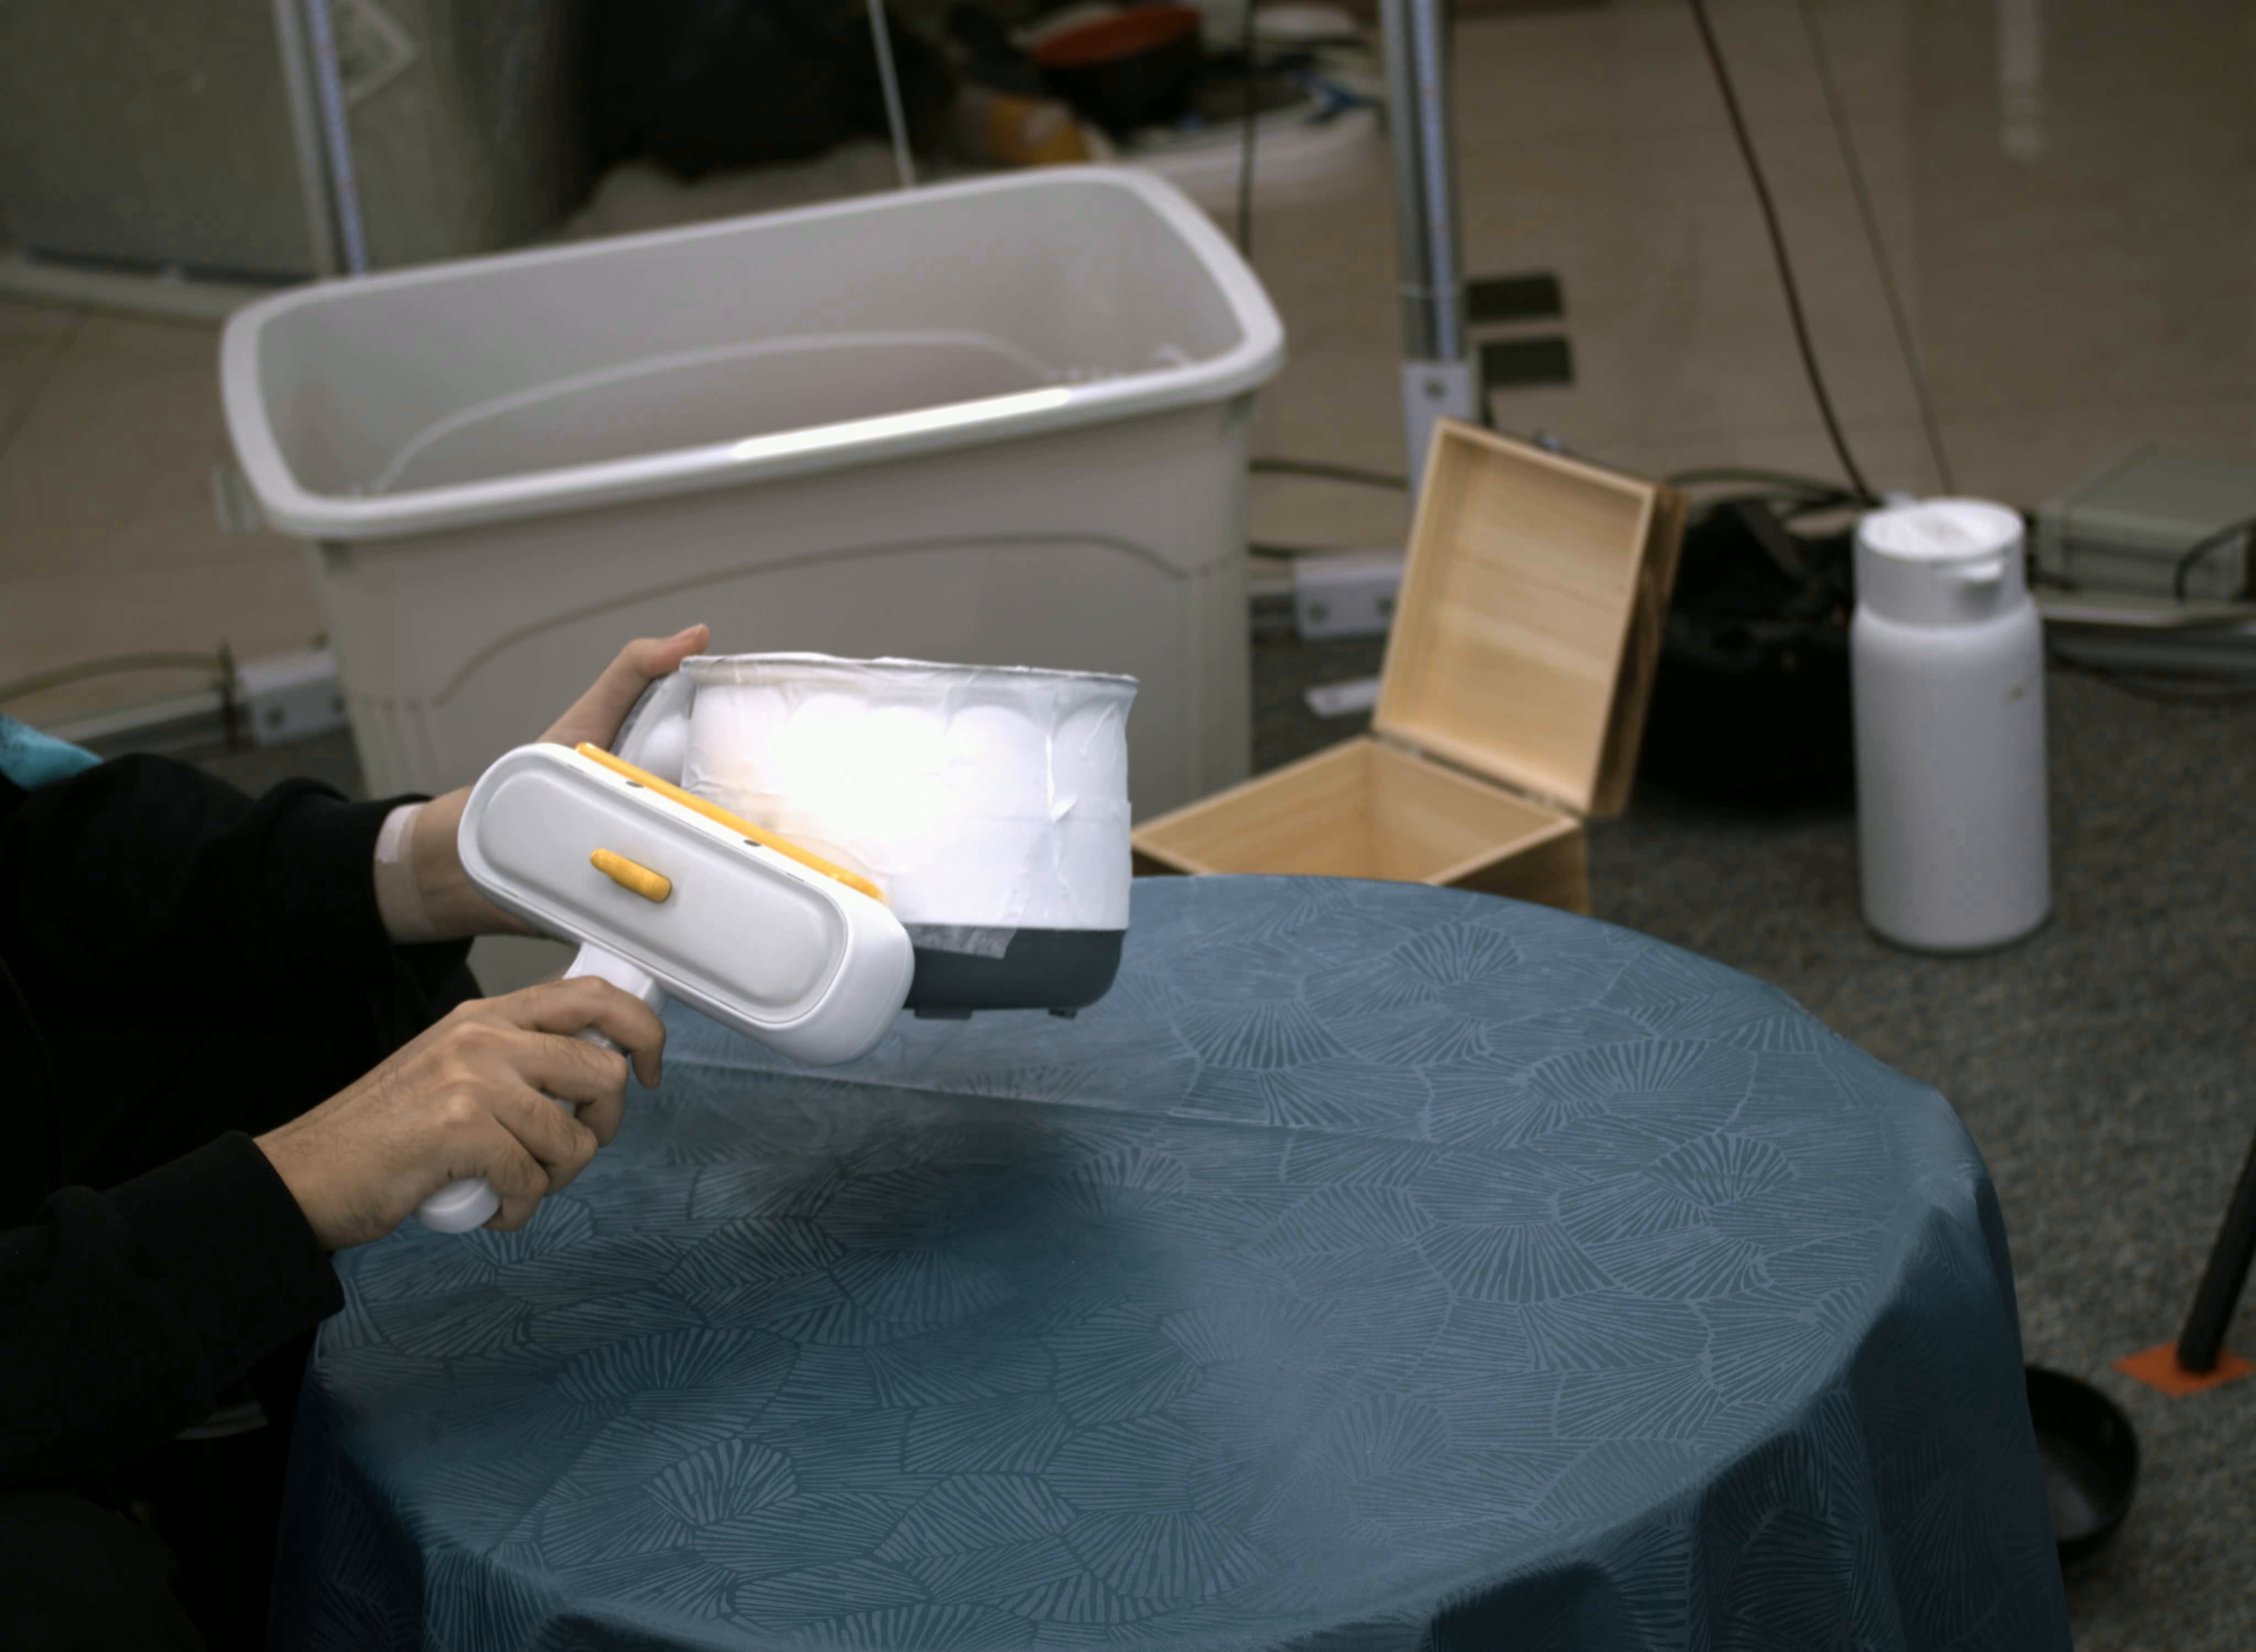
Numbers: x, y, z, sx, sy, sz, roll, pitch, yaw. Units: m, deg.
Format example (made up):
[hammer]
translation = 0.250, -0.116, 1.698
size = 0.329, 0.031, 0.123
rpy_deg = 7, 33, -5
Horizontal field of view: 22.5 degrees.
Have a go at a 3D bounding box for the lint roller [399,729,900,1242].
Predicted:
[lint roller]
translation = -0.200, 0.070, 2.061
size = 0.191, 0.075, 0.191
rpy_deg = 23, 77, 22

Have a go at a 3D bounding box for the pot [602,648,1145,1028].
[pot]
translation = -0.112, 0.002, 2.177
size = 0.233, 0.137, 0.179
rpy_deg = 4, -1, 26
